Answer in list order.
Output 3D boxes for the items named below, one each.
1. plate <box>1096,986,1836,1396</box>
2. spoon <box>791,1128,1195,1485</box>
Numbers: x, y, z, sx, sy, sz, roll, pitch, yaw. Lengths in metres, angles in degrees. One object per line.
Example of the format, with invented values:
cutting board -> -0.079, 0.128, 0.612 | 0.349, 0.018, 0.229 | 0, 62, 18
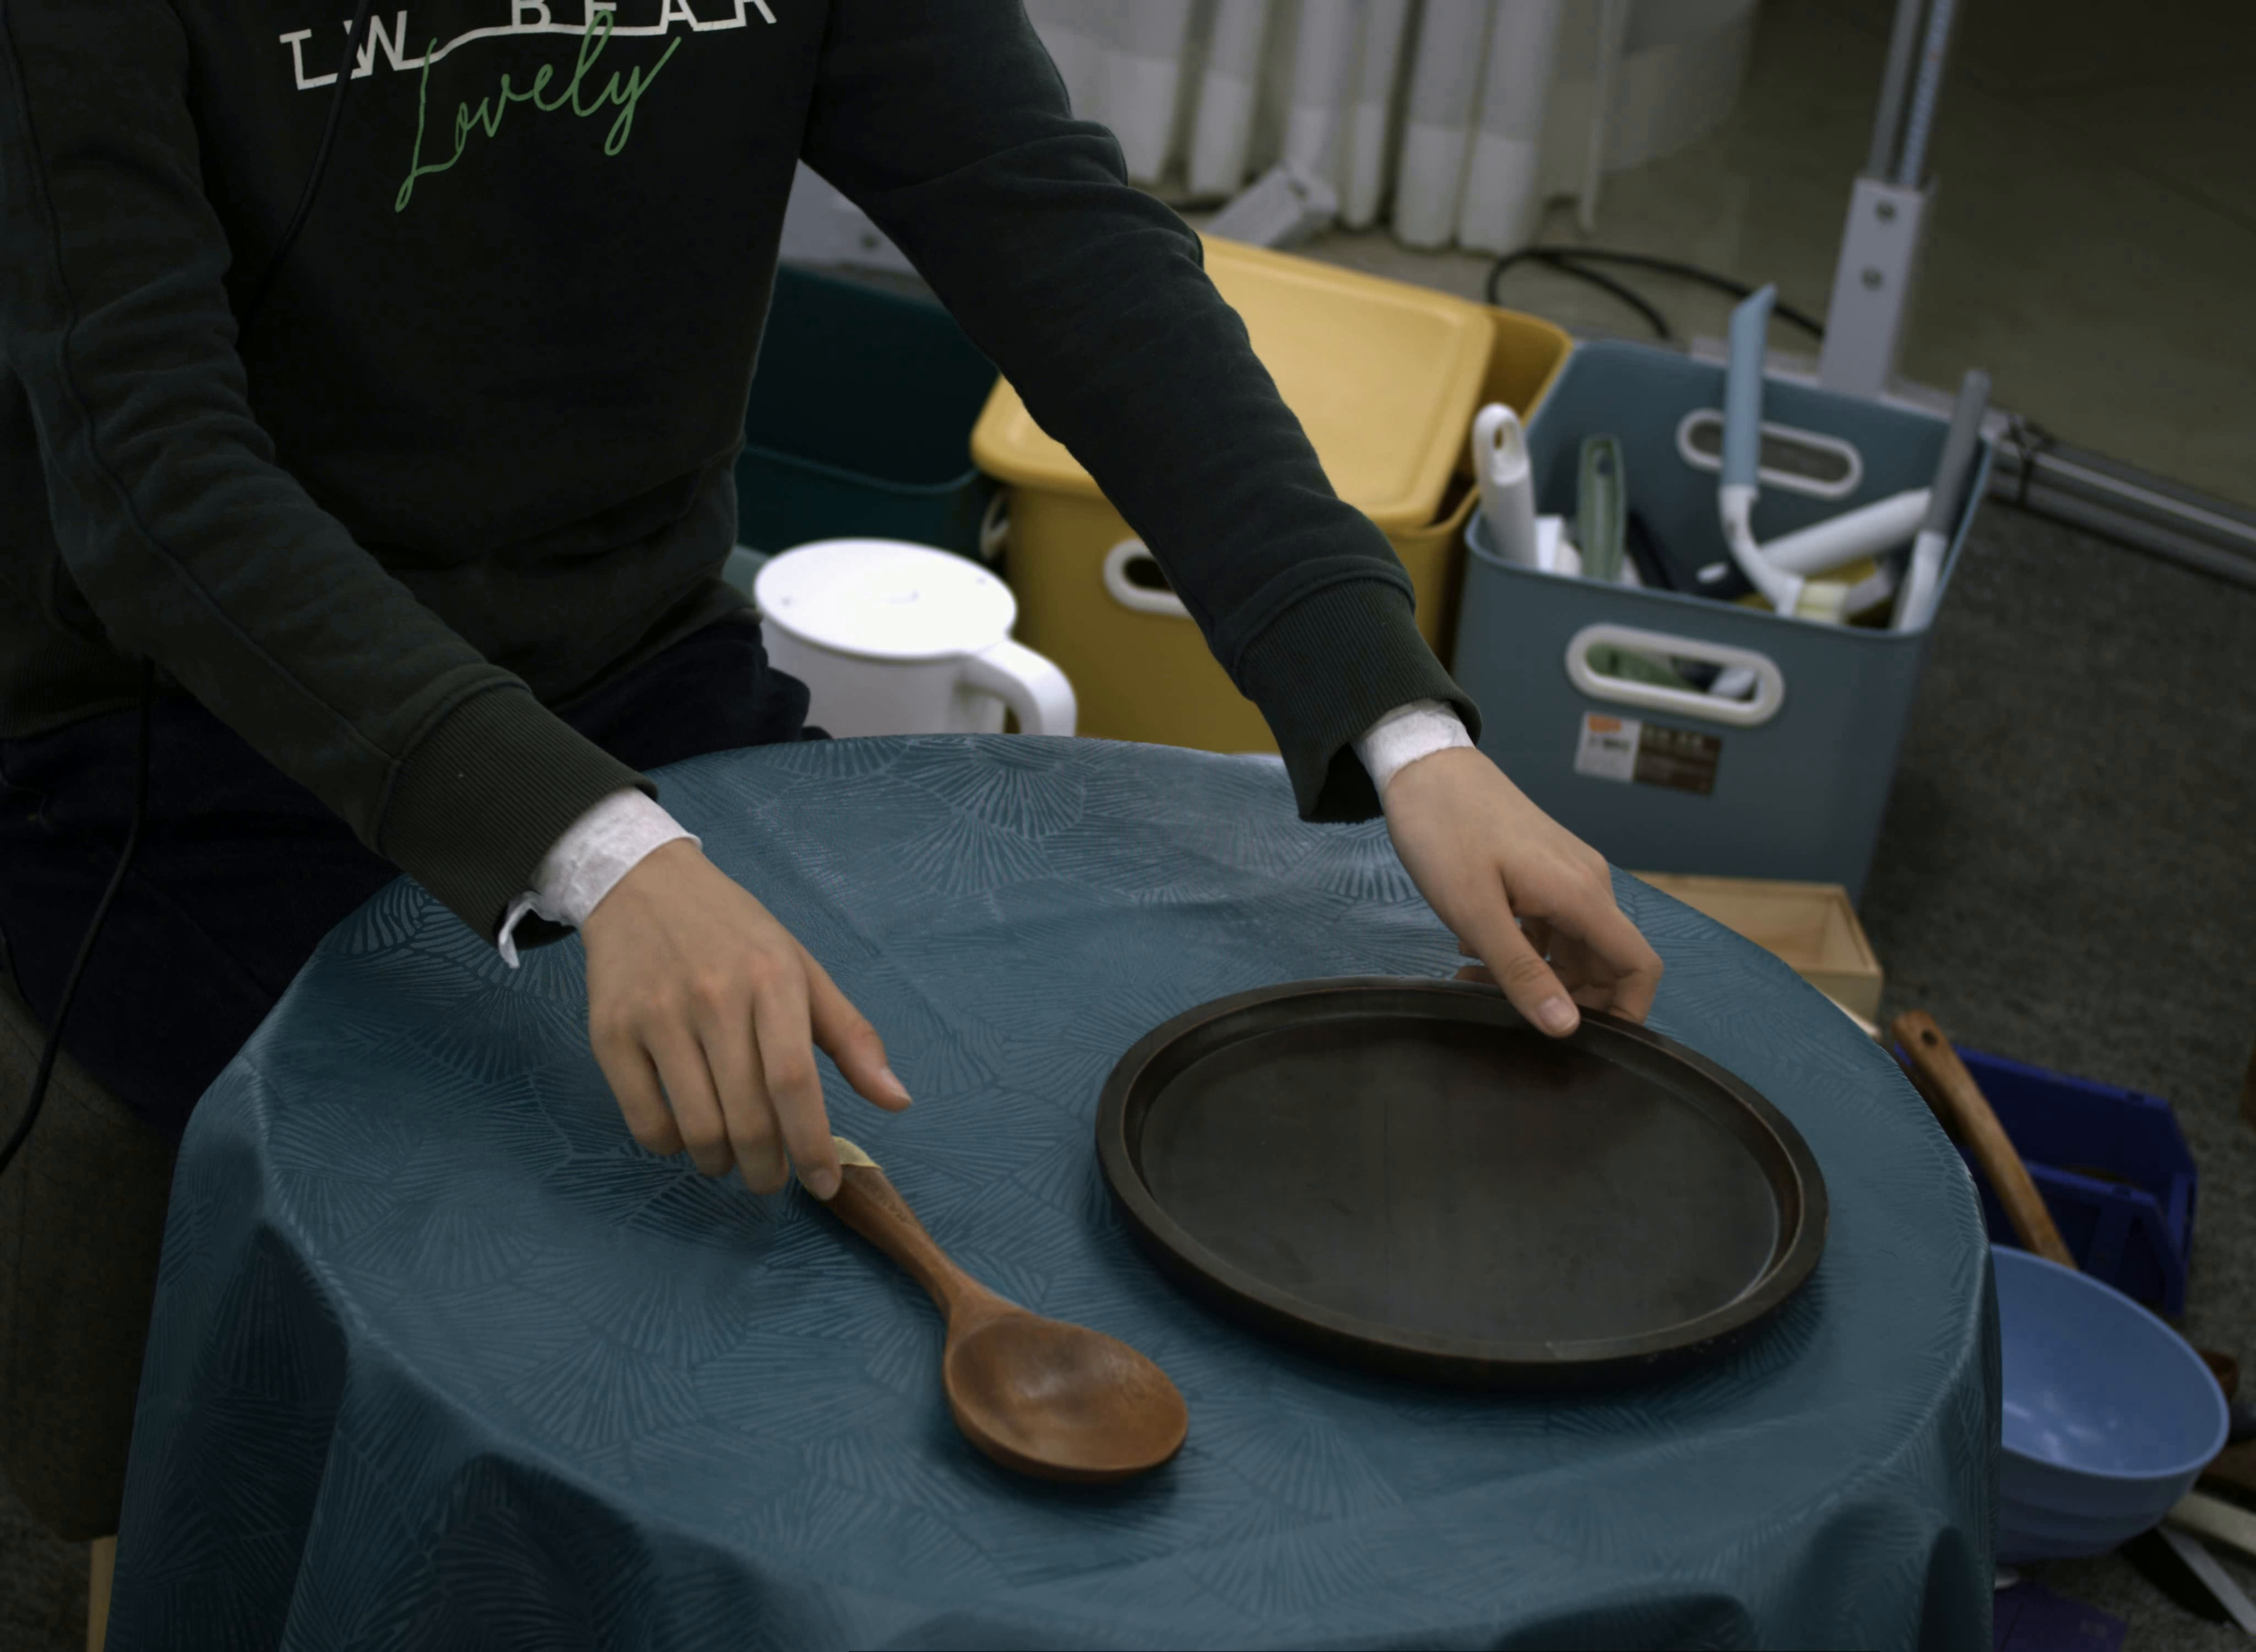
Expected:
plate -> 0.114, 0.121, 1.806 | 0.254, 0.029, 0.256 | 6, 27, -3
spoon -> -0.052, 0.154, 1.708 | 0.075, 0.017, 0.218 | -10, 31, -29
